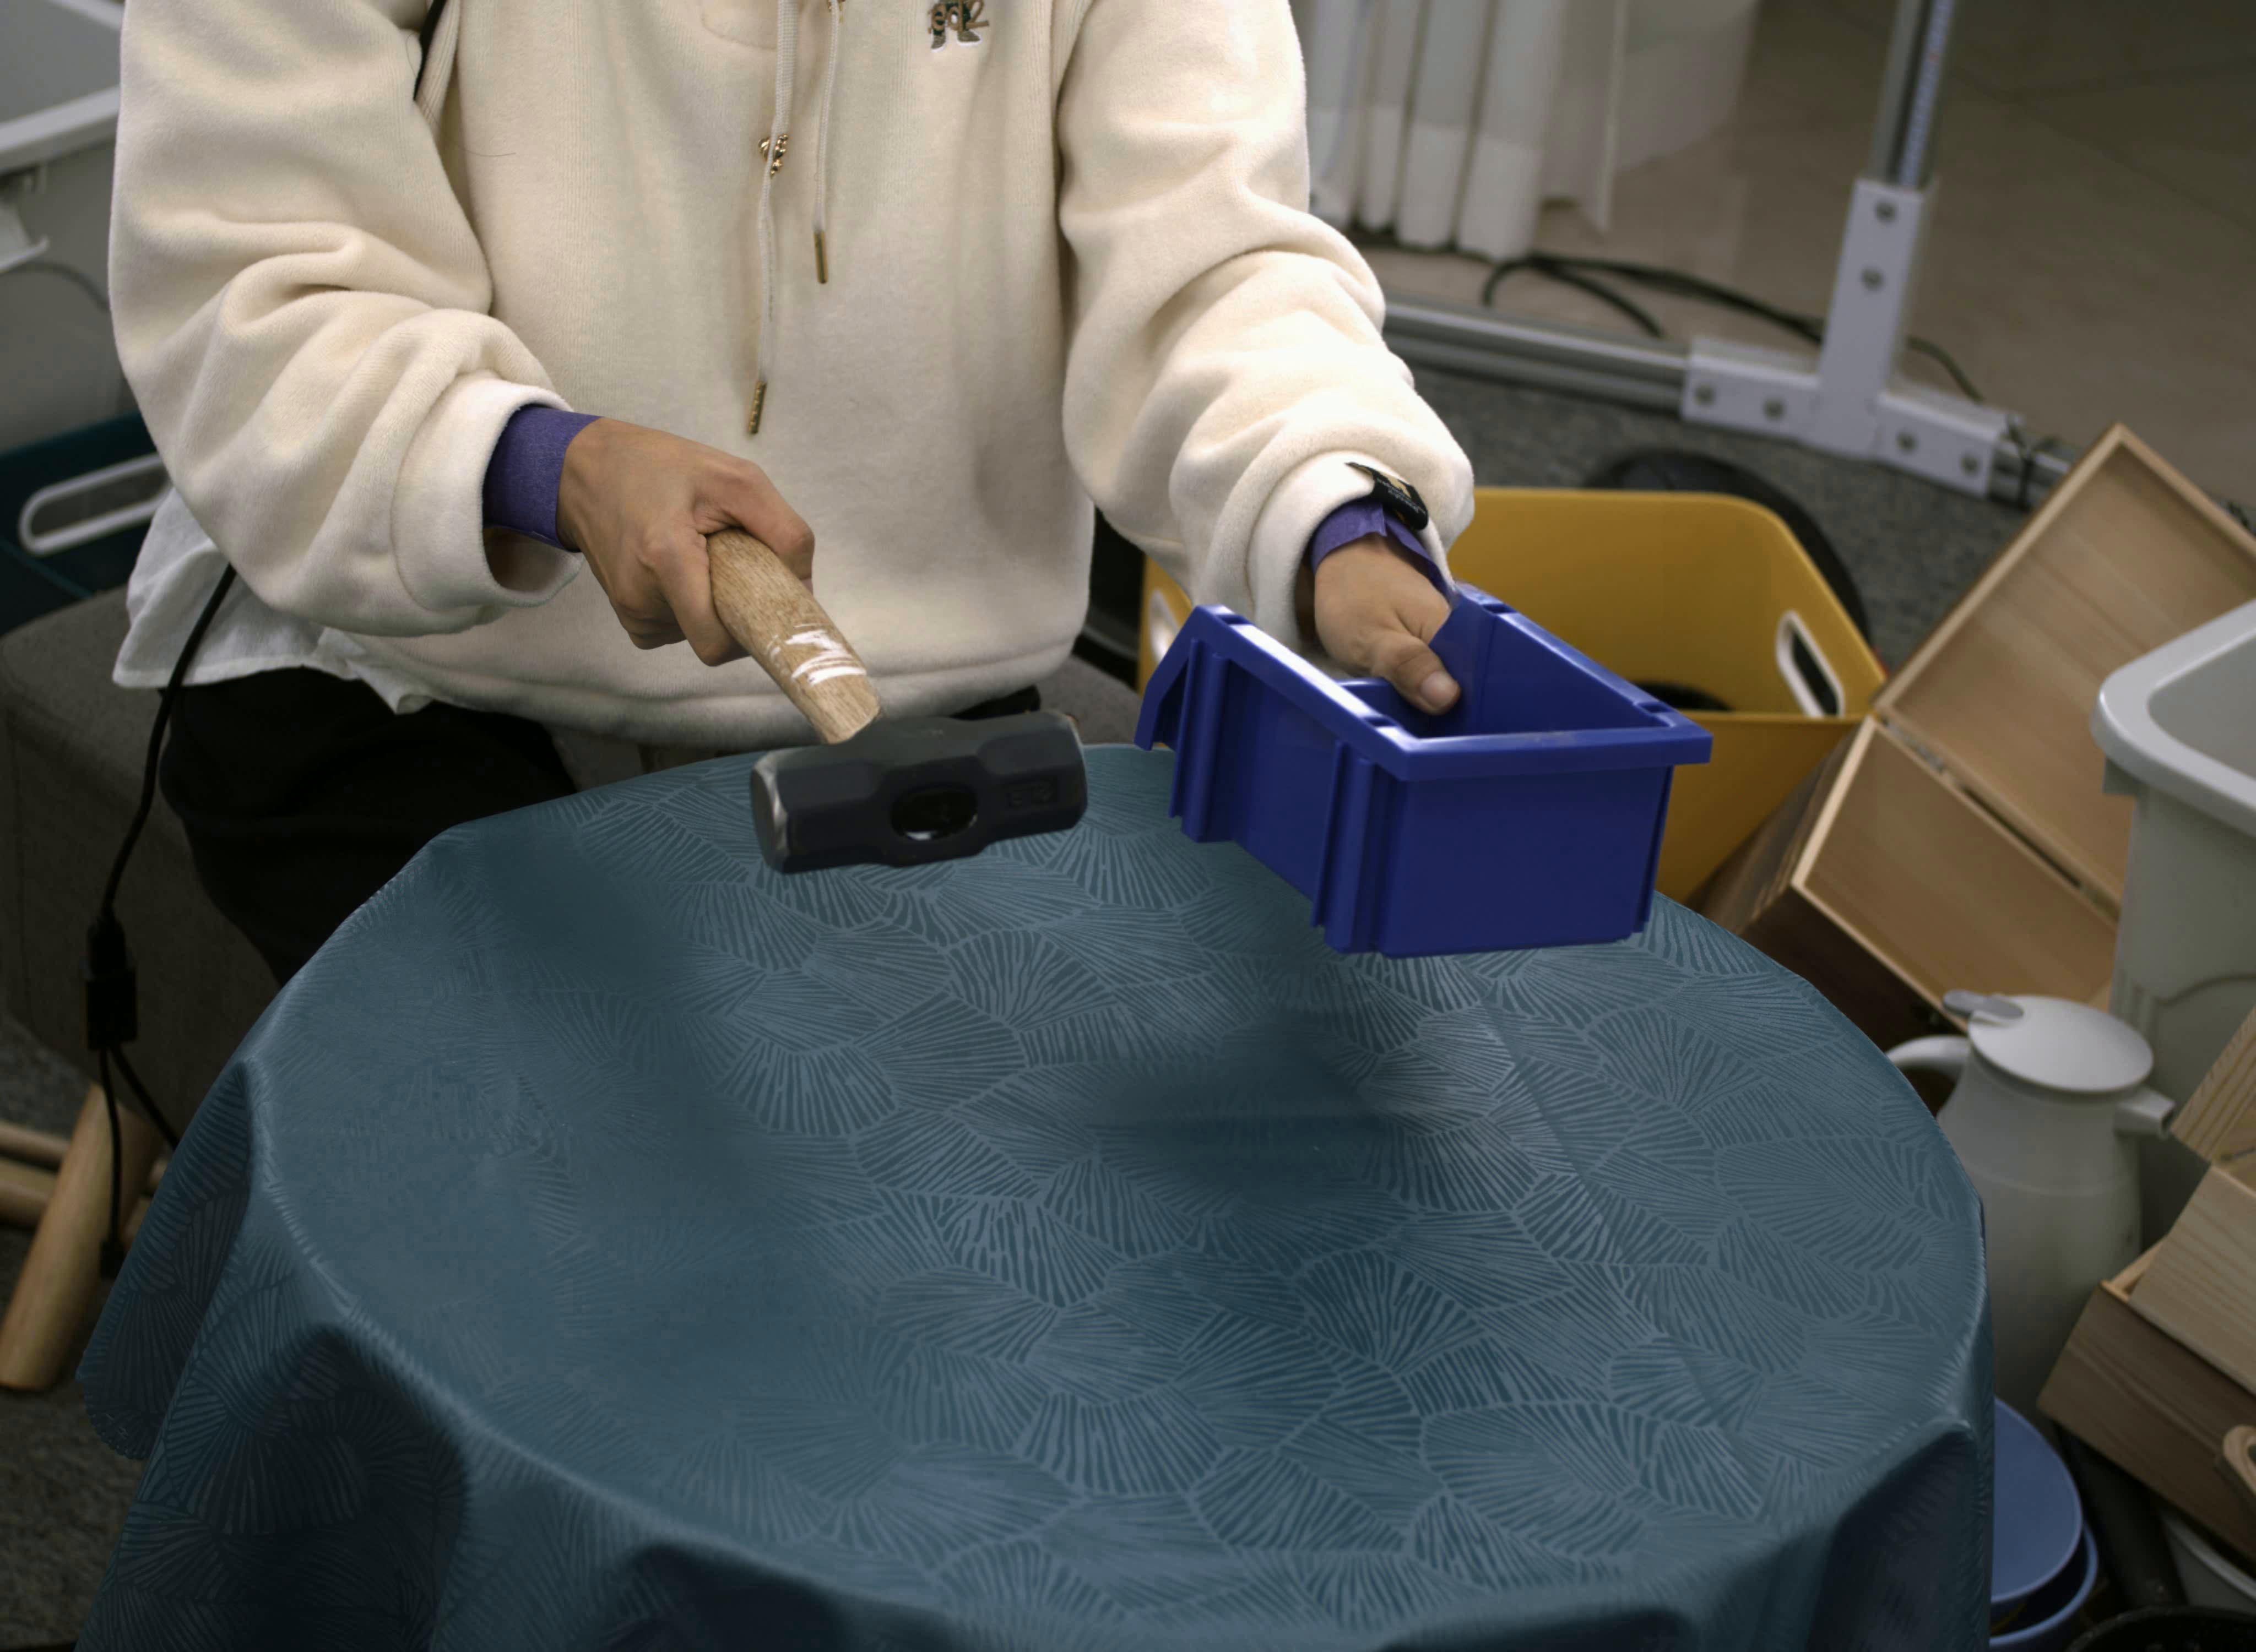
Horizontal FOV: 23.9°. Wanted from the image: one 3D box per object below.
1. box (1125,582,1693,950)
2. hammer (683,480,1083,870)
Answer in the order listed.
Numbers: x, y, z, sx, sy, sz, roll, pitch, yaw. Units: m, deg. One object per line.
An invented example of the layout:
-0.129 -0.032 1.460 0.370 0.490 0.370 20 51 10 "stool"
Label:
0.091 -0.025 1.834 0.123 0.082 0.181 -3 24 -26 "box"
-0.107 -0.060 1.837 0.107 0.038 0.307 -9 24 -14 "hammer"
